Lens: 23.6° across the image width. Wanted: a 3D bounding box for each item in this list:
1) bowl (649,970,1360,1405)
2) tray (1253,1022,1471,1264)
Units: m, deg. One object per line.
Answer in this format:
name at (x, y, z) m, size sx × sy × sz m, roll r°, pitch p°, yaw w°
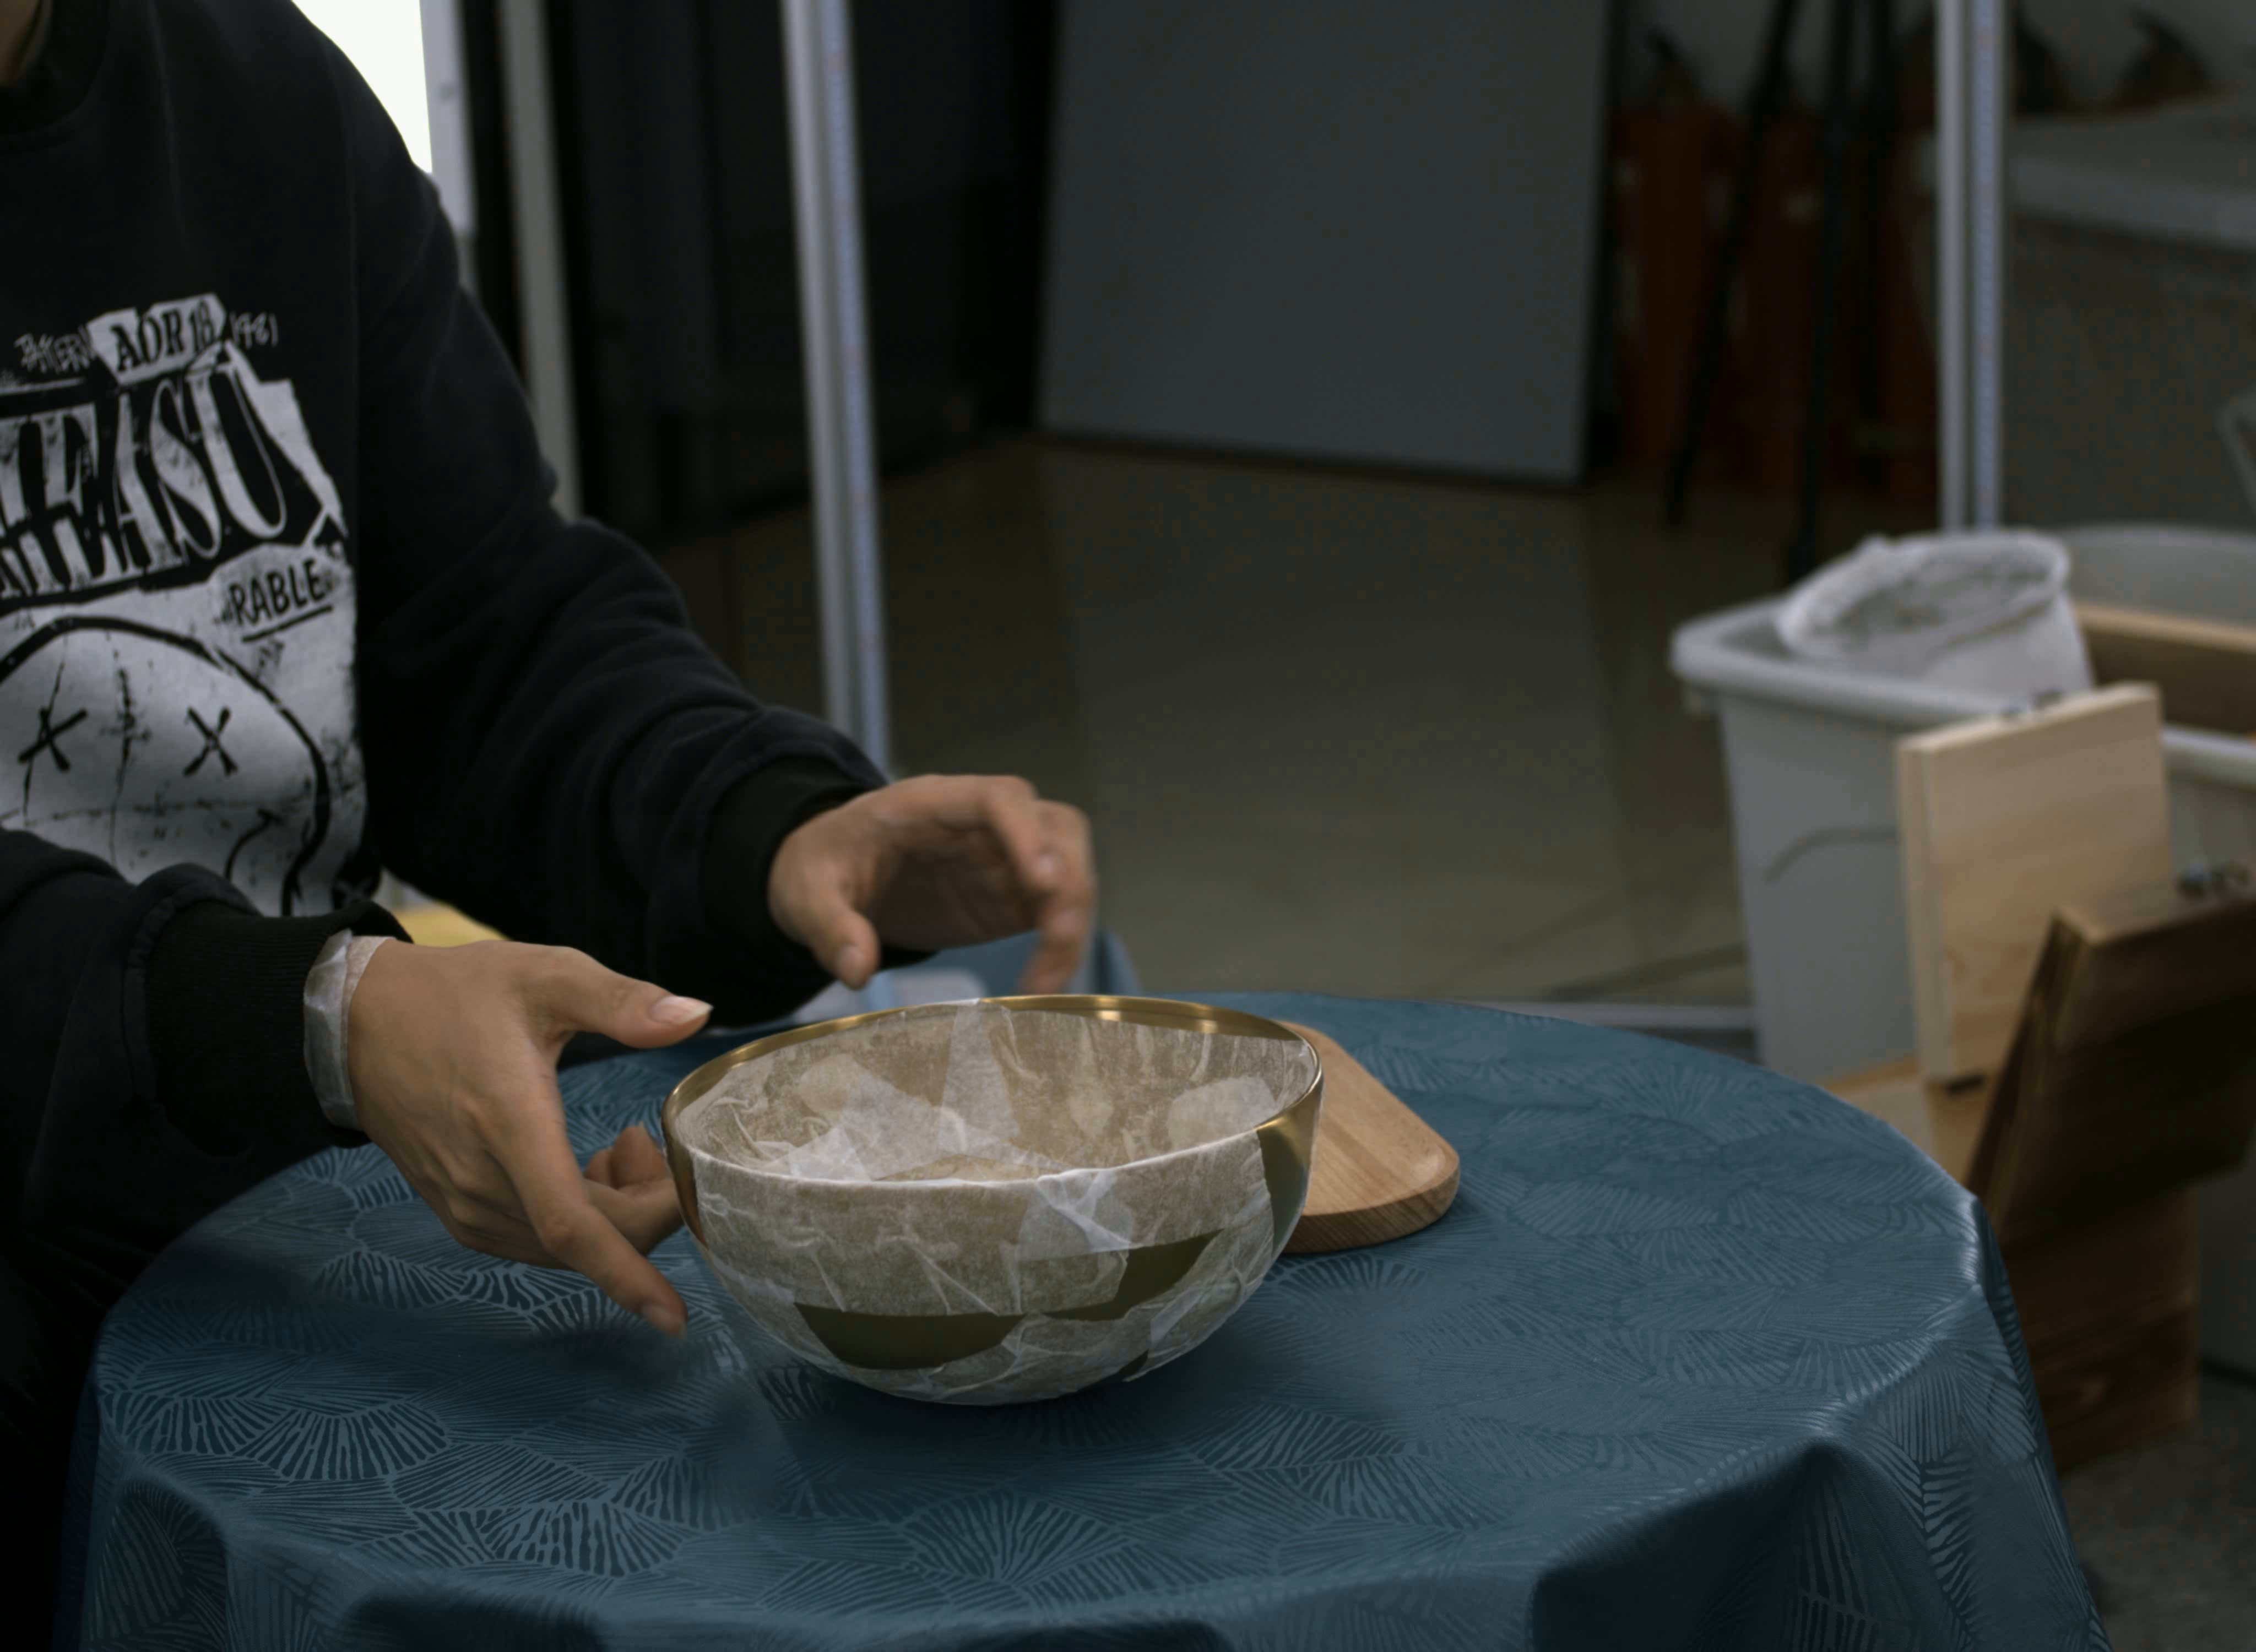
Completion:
bowl at (-0.034, 0.116, 1.604) m, size 0.212 × 0.095 × 0.215 m, roll -5°, pitch 14°, yaw 0°
tray at (0.043, 0.104, 1.799) m, size 0.100 × 0.020 × 0.233 m, roll -10°, pitch 17°, yaw -13°
